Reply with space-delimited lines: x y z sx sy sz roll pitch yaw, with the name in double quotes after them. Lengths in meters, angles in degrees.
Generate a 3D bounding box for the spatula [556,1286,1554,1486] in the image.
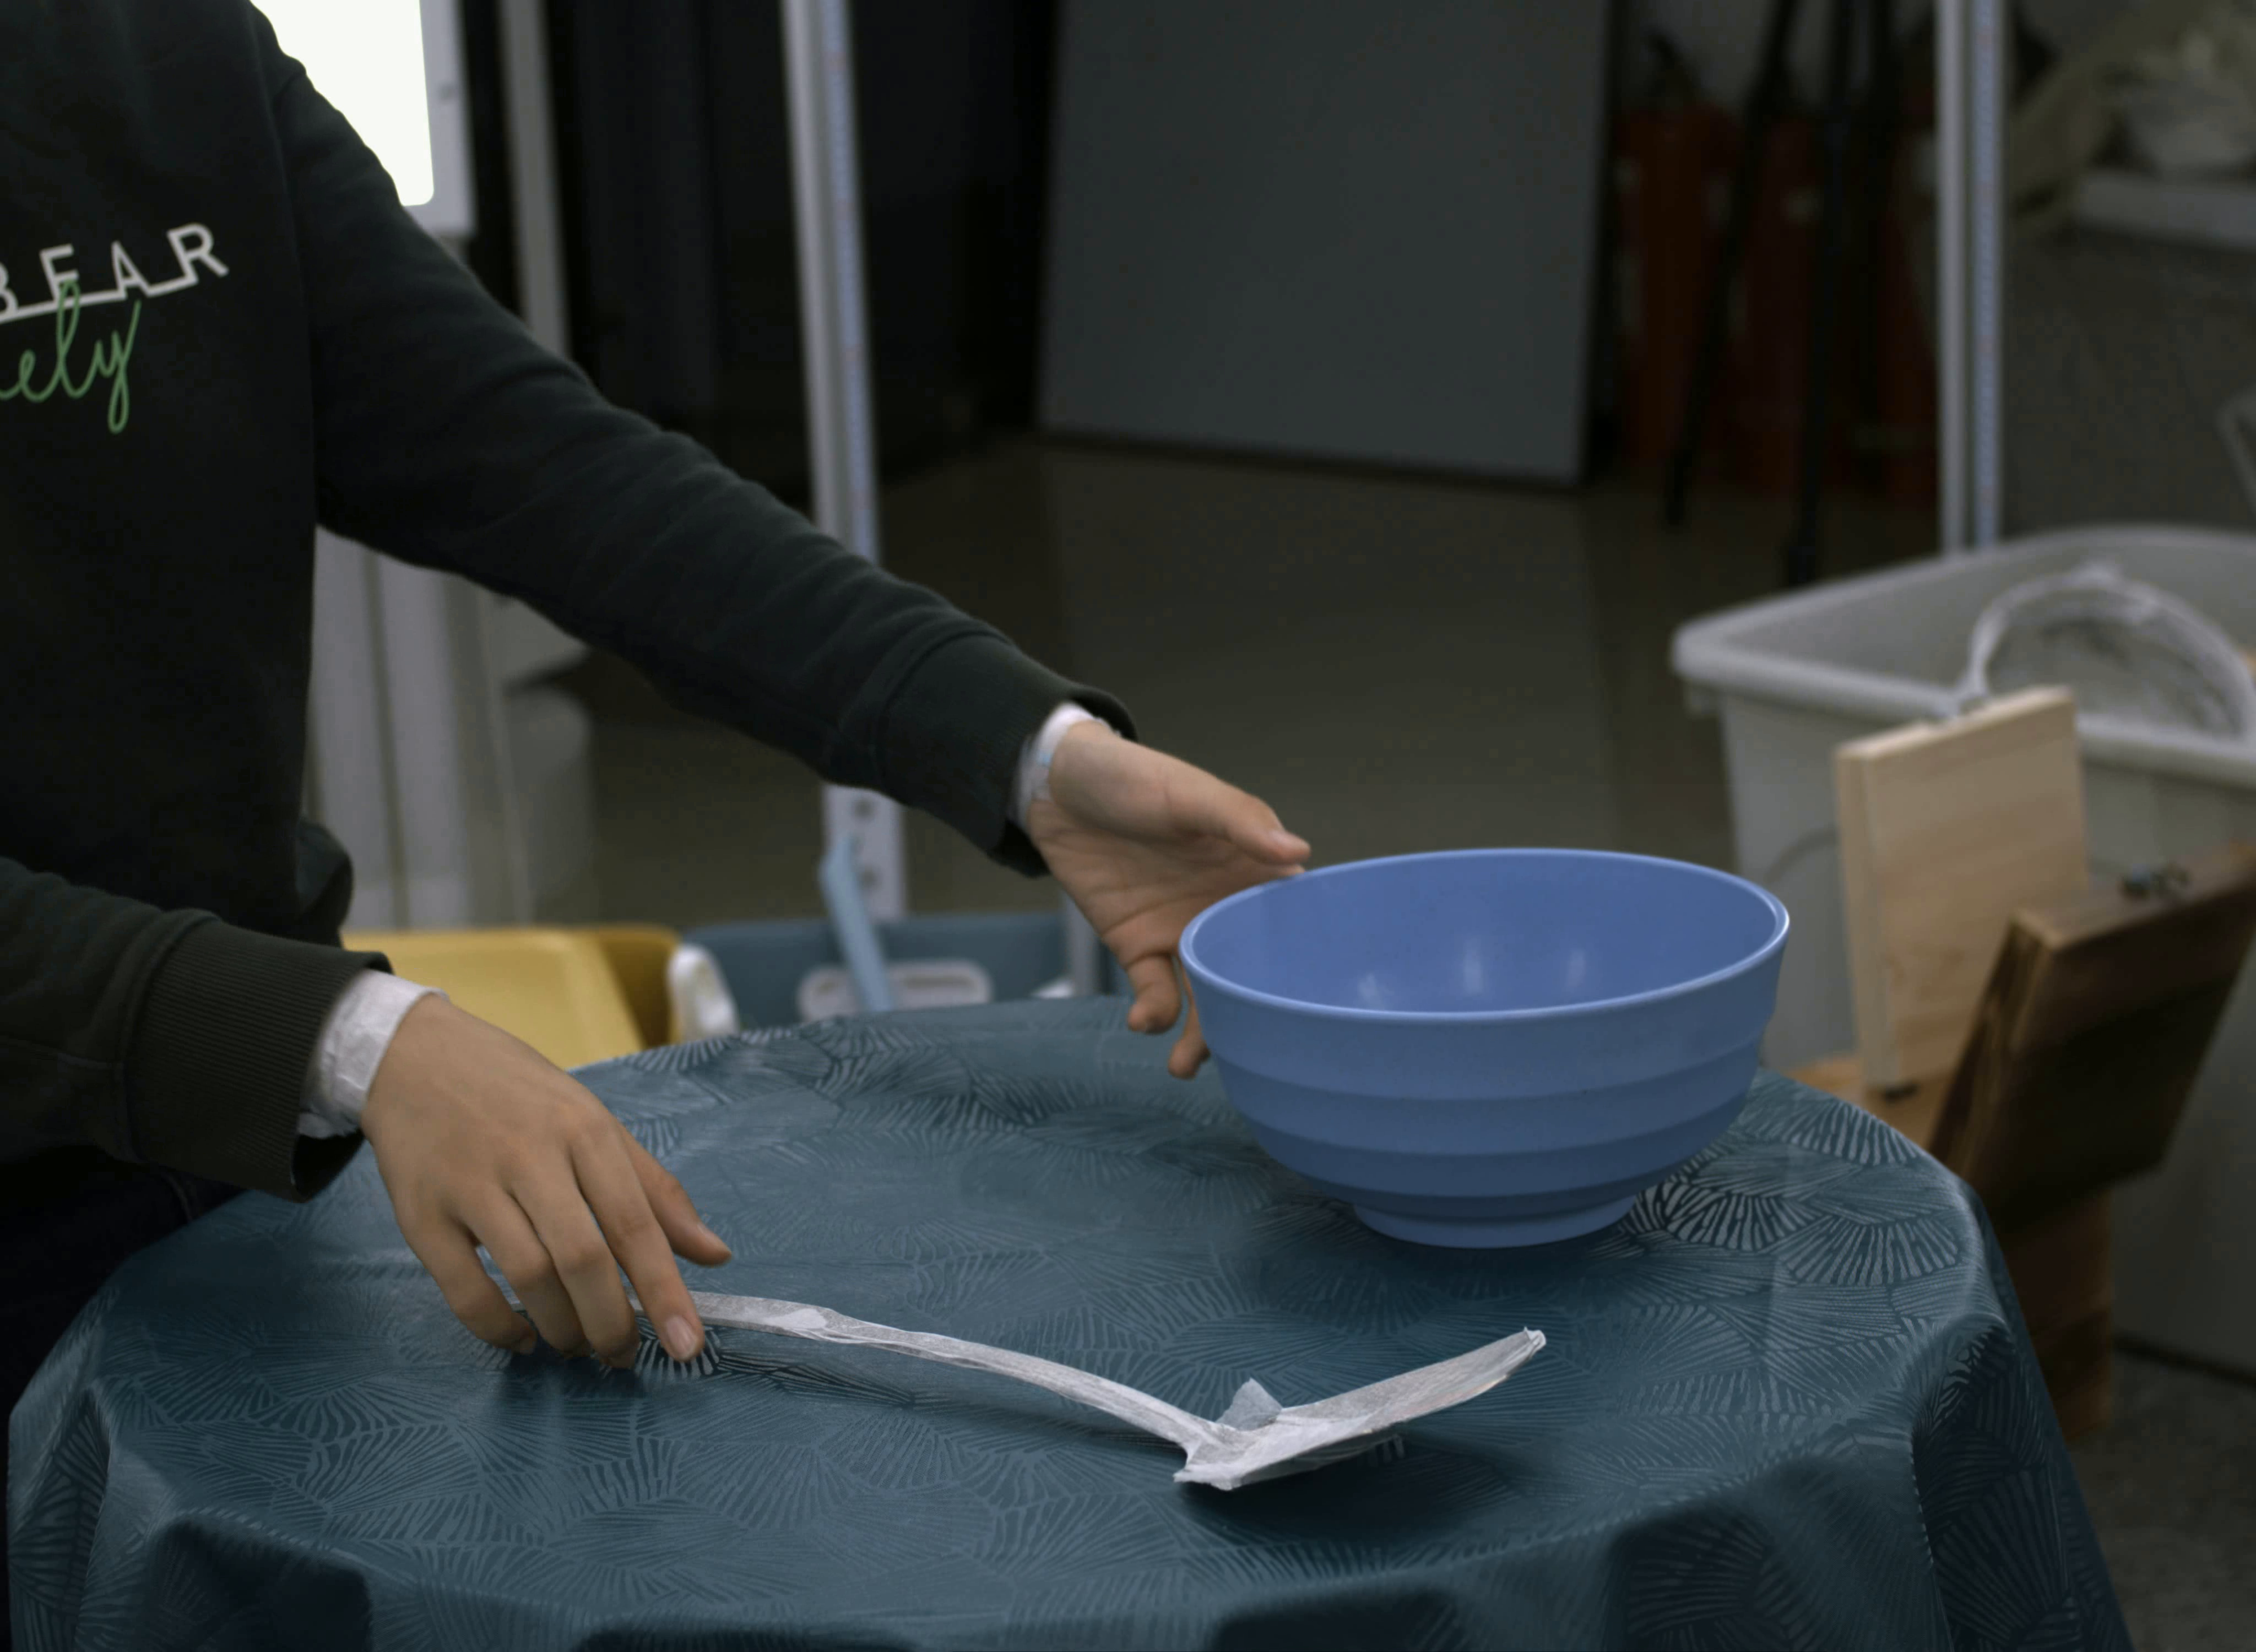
-0.041 0.152 1.580 0.367 0.045 0.097 7 19 37 "spatula"

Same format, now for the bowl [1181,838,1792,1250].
0.115 0.076 1.722 0.194 0.096 0.197 -3 15 0 "bowl"
